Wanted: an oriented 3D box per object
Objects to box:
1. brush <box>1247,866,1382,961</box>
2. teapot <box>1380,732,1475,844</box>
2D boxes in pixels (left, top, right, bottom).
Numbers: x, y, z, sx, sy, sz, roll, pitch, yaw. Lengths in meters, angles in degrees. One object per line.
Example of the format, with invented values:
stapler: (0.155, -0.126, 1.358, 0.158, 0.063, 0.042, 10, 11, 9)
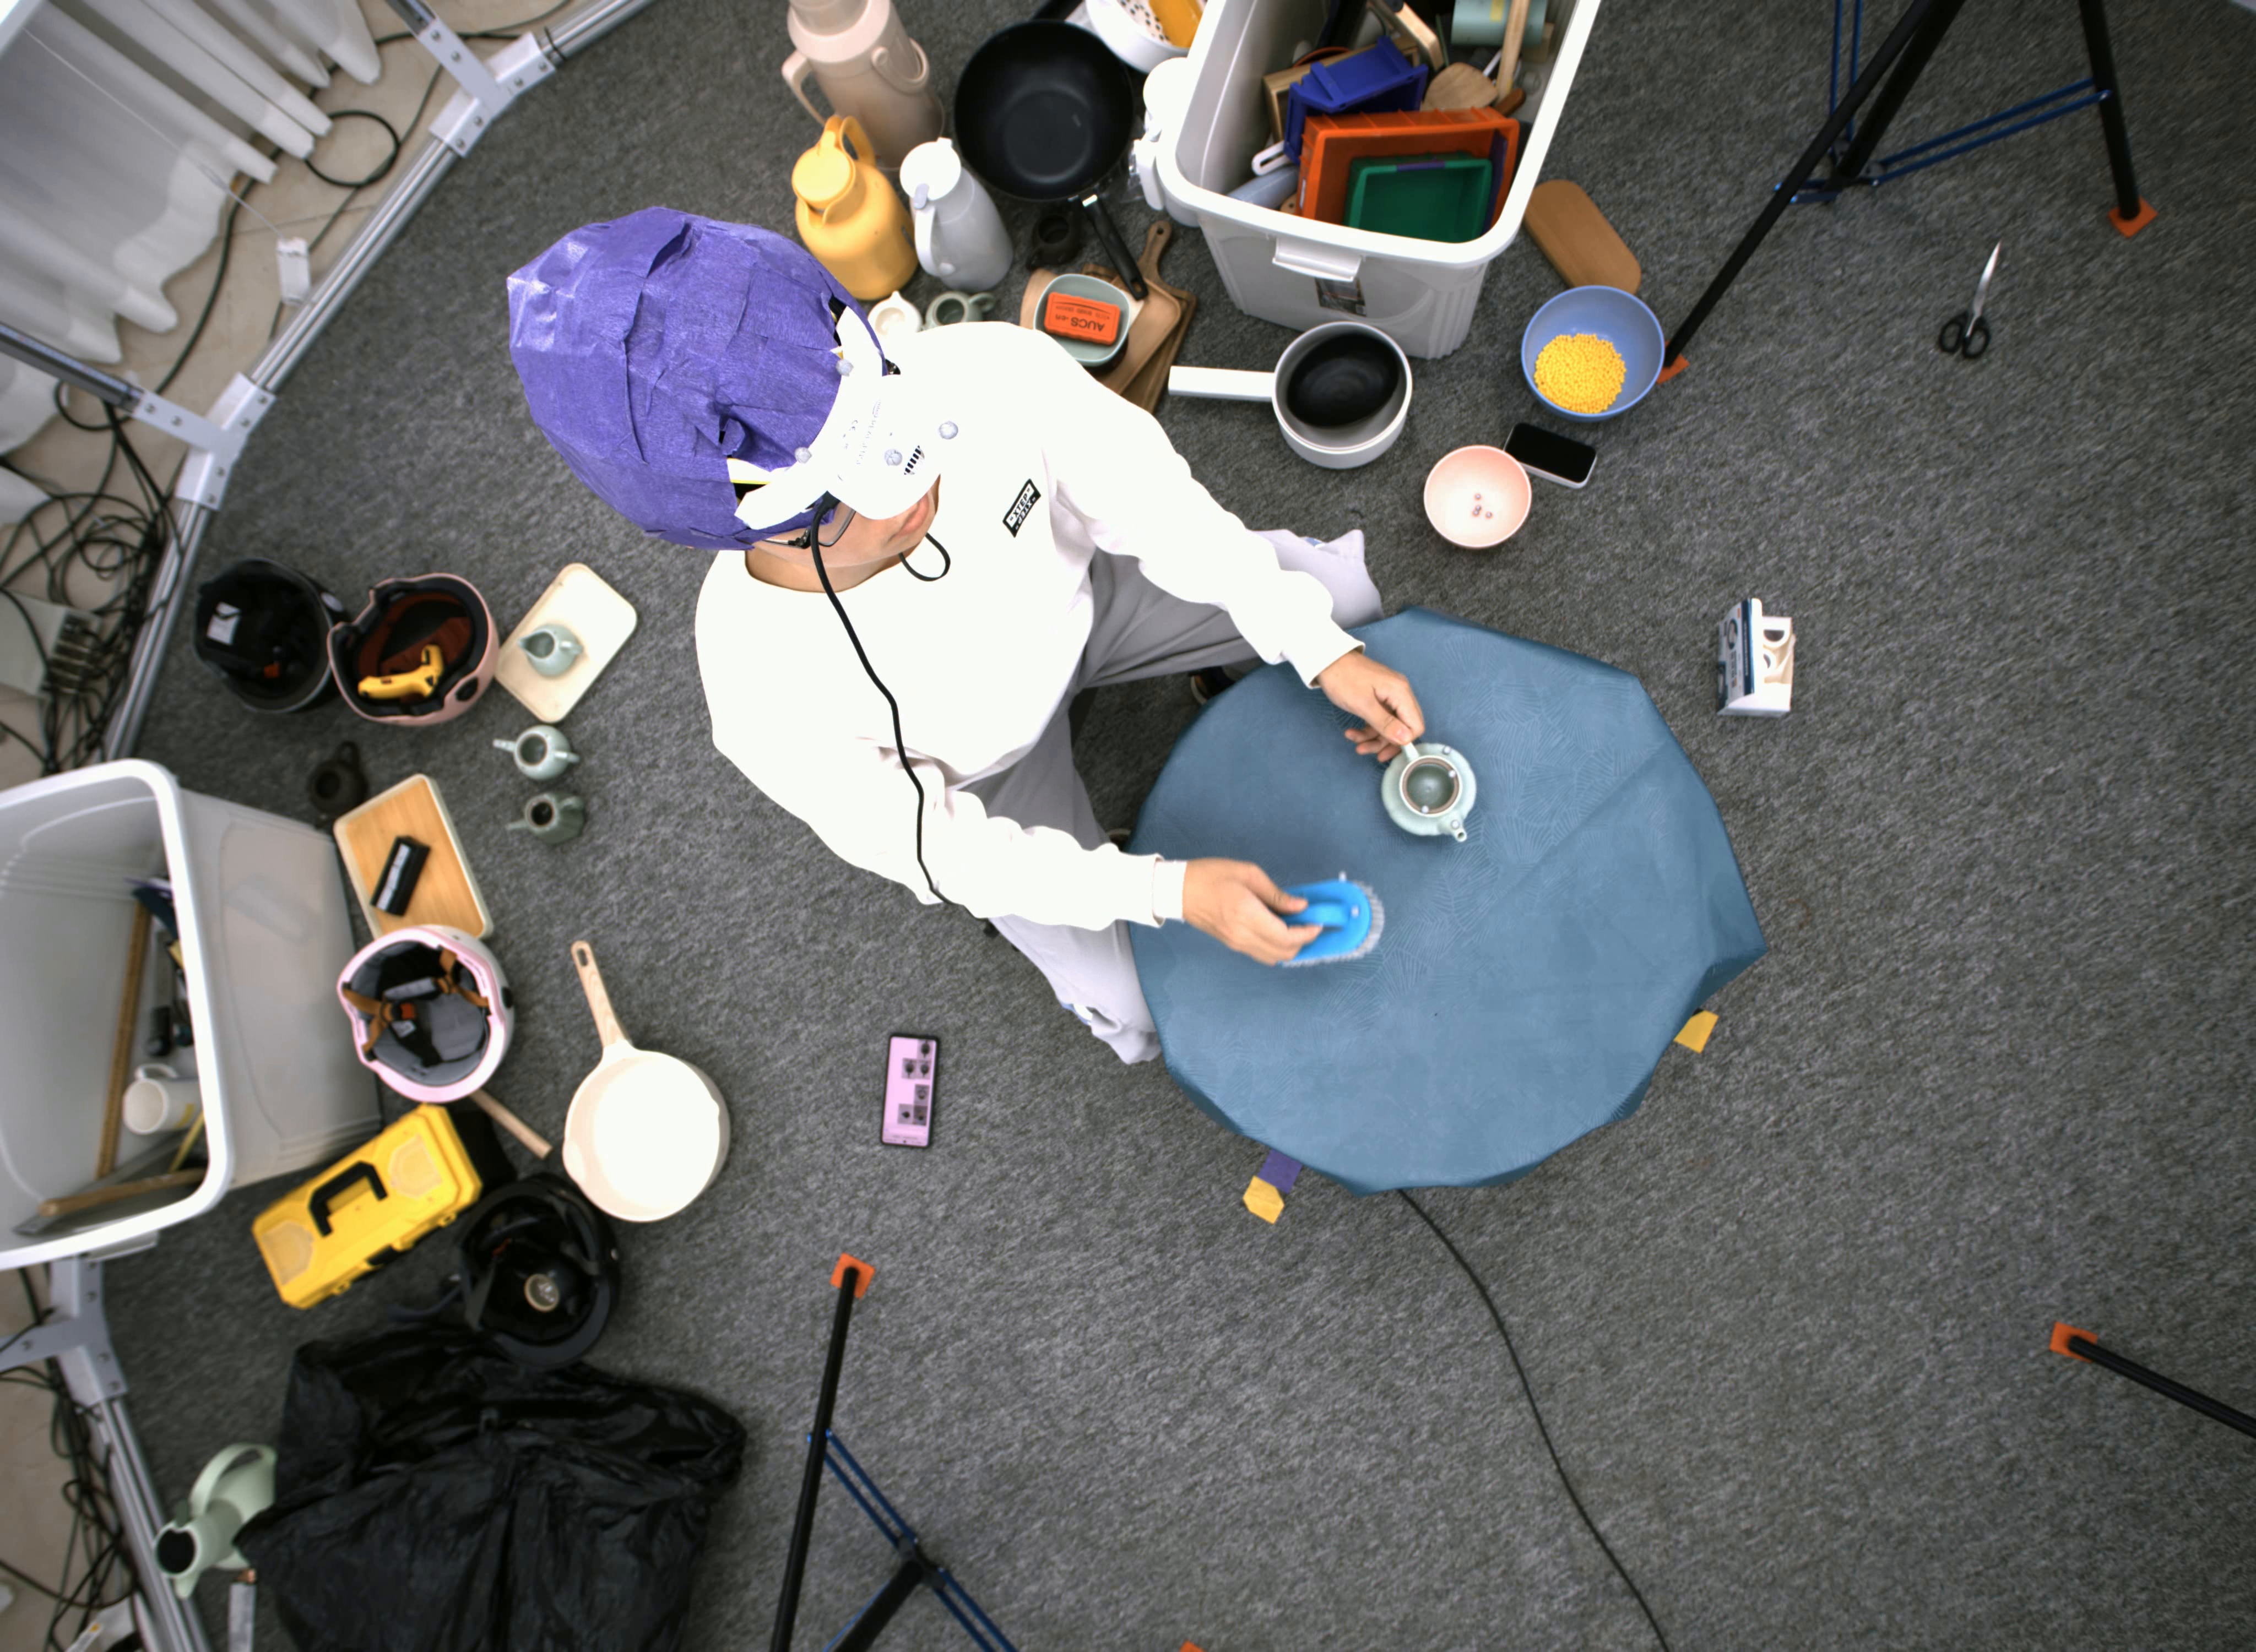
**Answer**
brush: (0.175, 0.086, 1.358, 0.144, 0.063, 0.084, -15, 80, 38)
teapot: (0.304, -0.039, 1.408, 0.097, 0.061, 0.136, -33, 83, 11)
